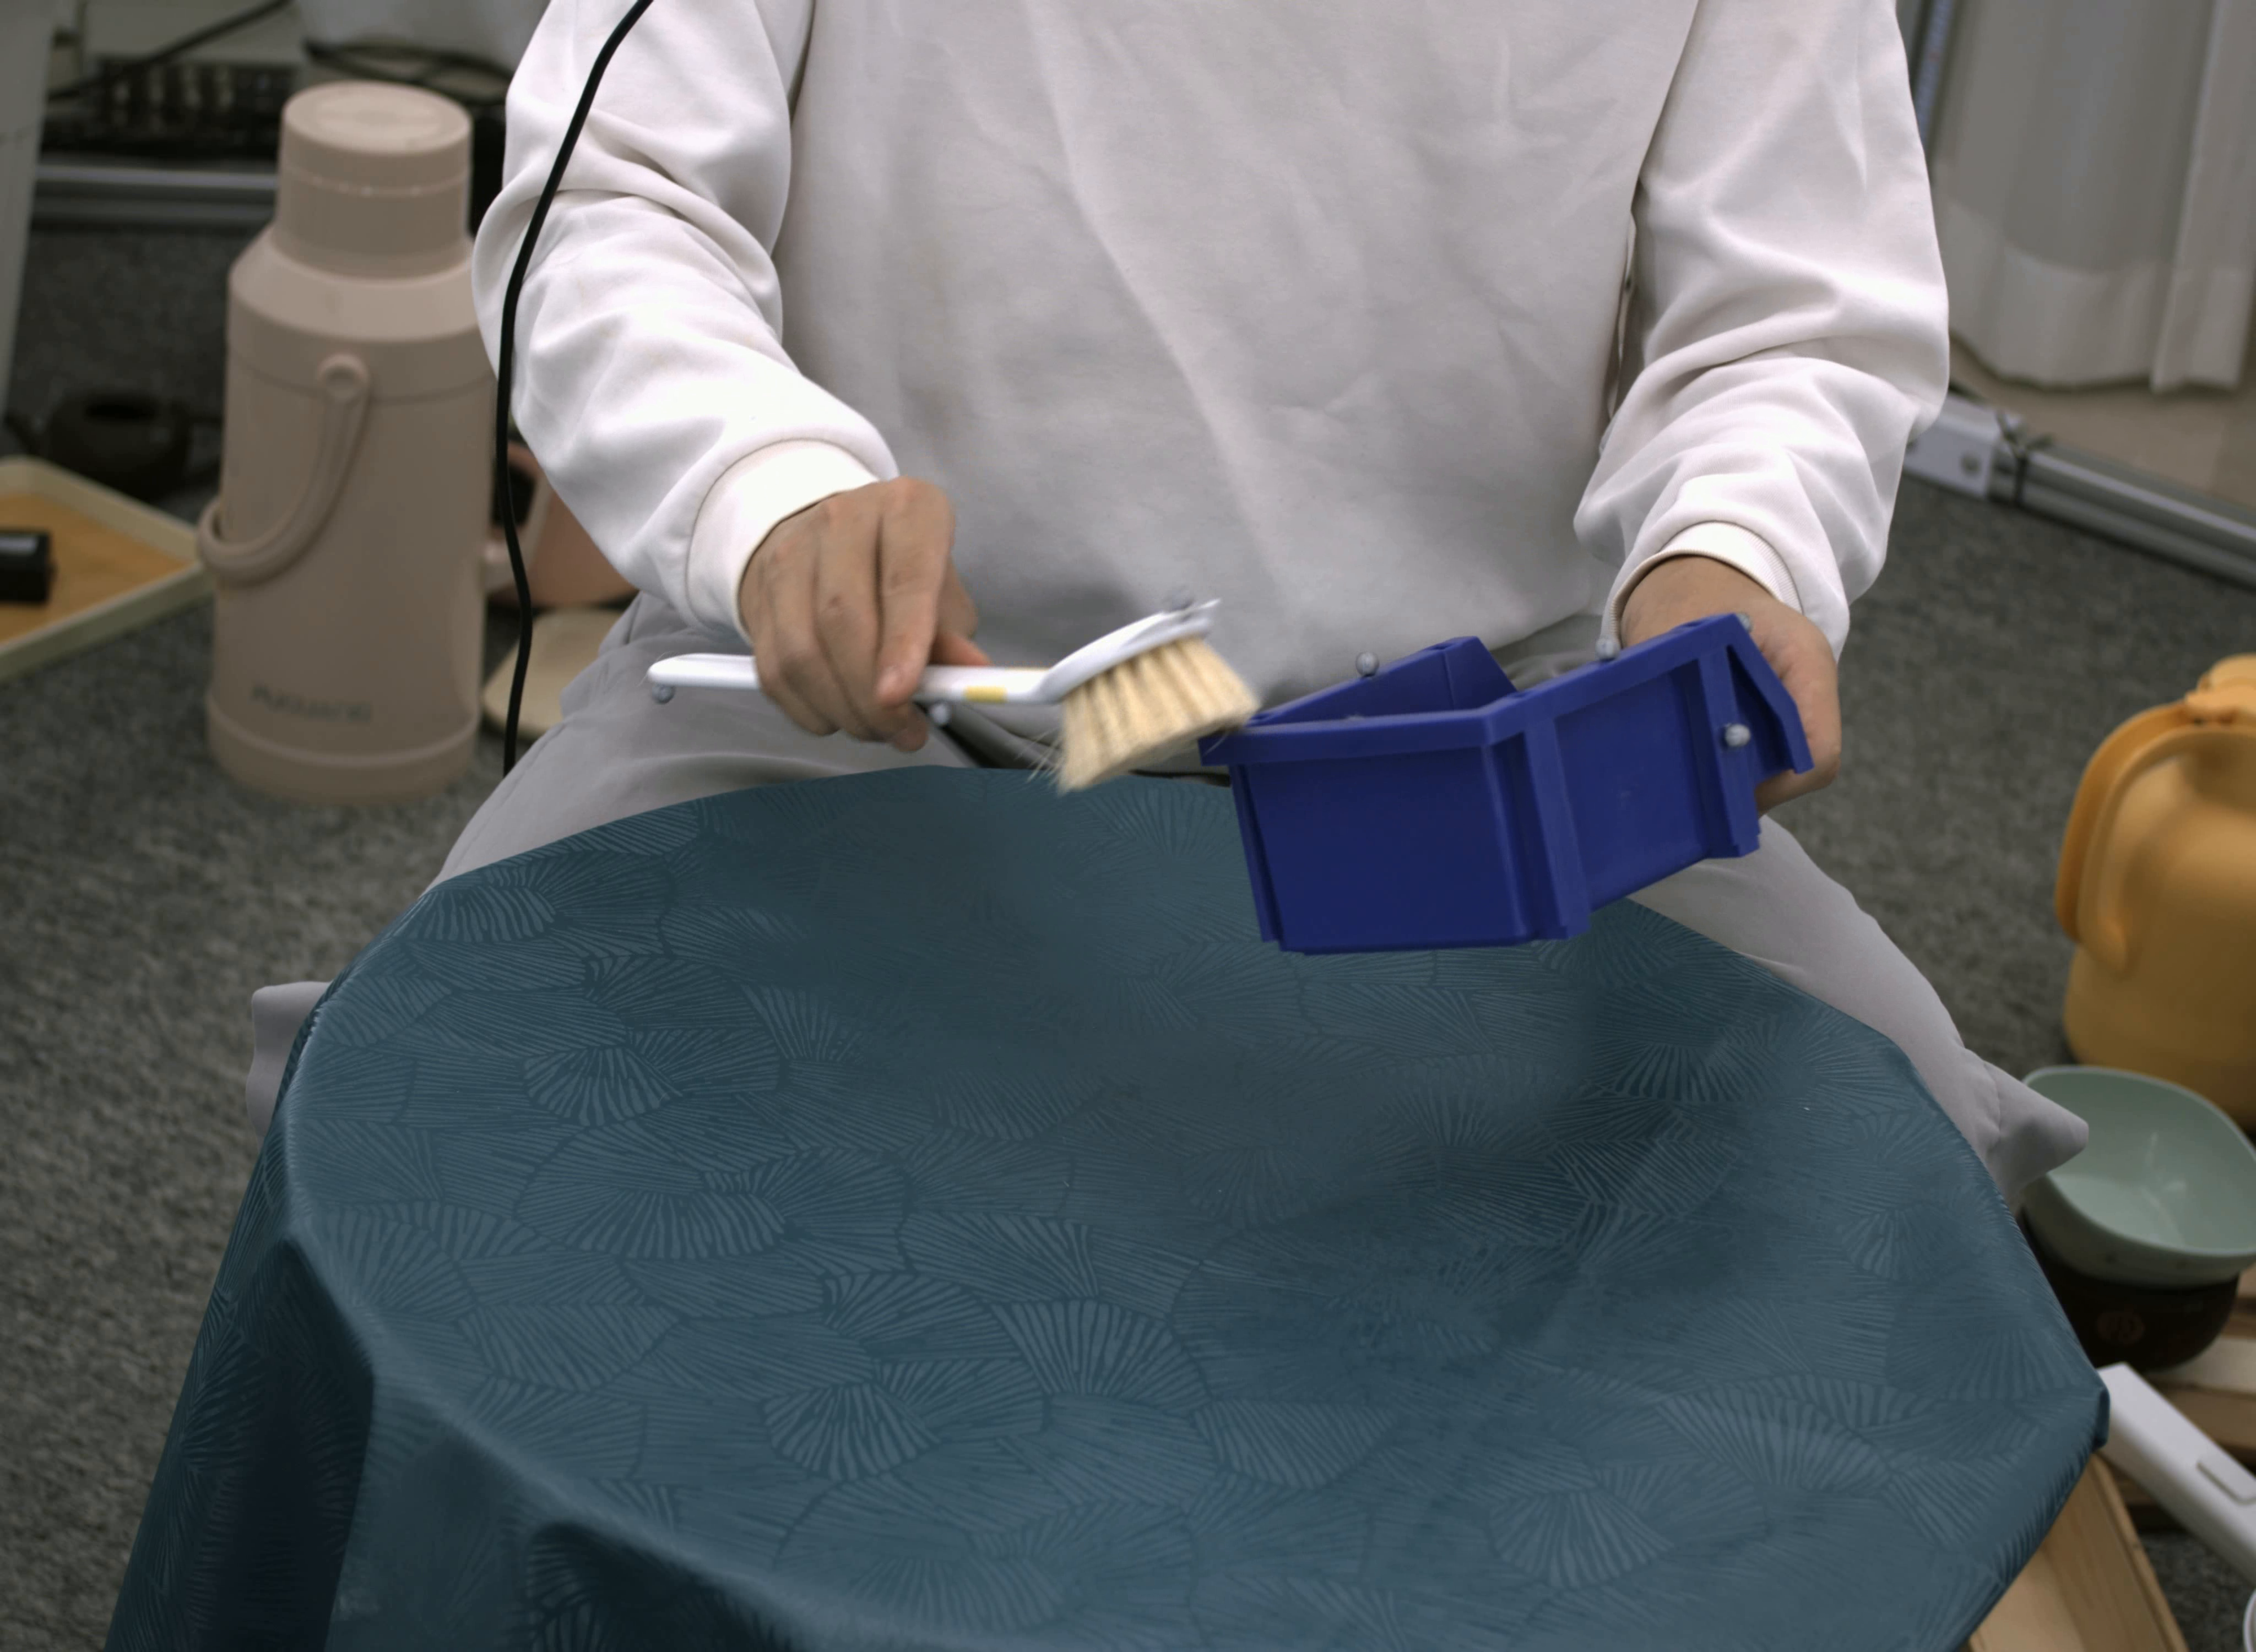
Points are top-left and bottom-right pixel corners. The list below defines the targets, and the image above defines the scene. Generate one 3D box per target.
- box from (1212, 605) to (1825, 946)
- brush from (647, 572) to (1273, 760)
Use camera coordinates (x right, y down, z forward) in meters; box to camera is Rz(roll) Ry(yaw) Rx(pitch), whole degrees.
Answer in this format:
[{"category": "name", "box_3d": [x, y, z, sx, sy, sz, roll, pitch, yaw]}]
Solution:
[{"category": "box", "box_3d": [0.134, -0.019, 1.801, 0.125, 0.082, 0.178, -3, 14, 41]}, {"category": "brush", "box_3d": [-0.062, -0.045, 1.825, 0.267, 0.056, 0.068, -6, 2, 40]}]
